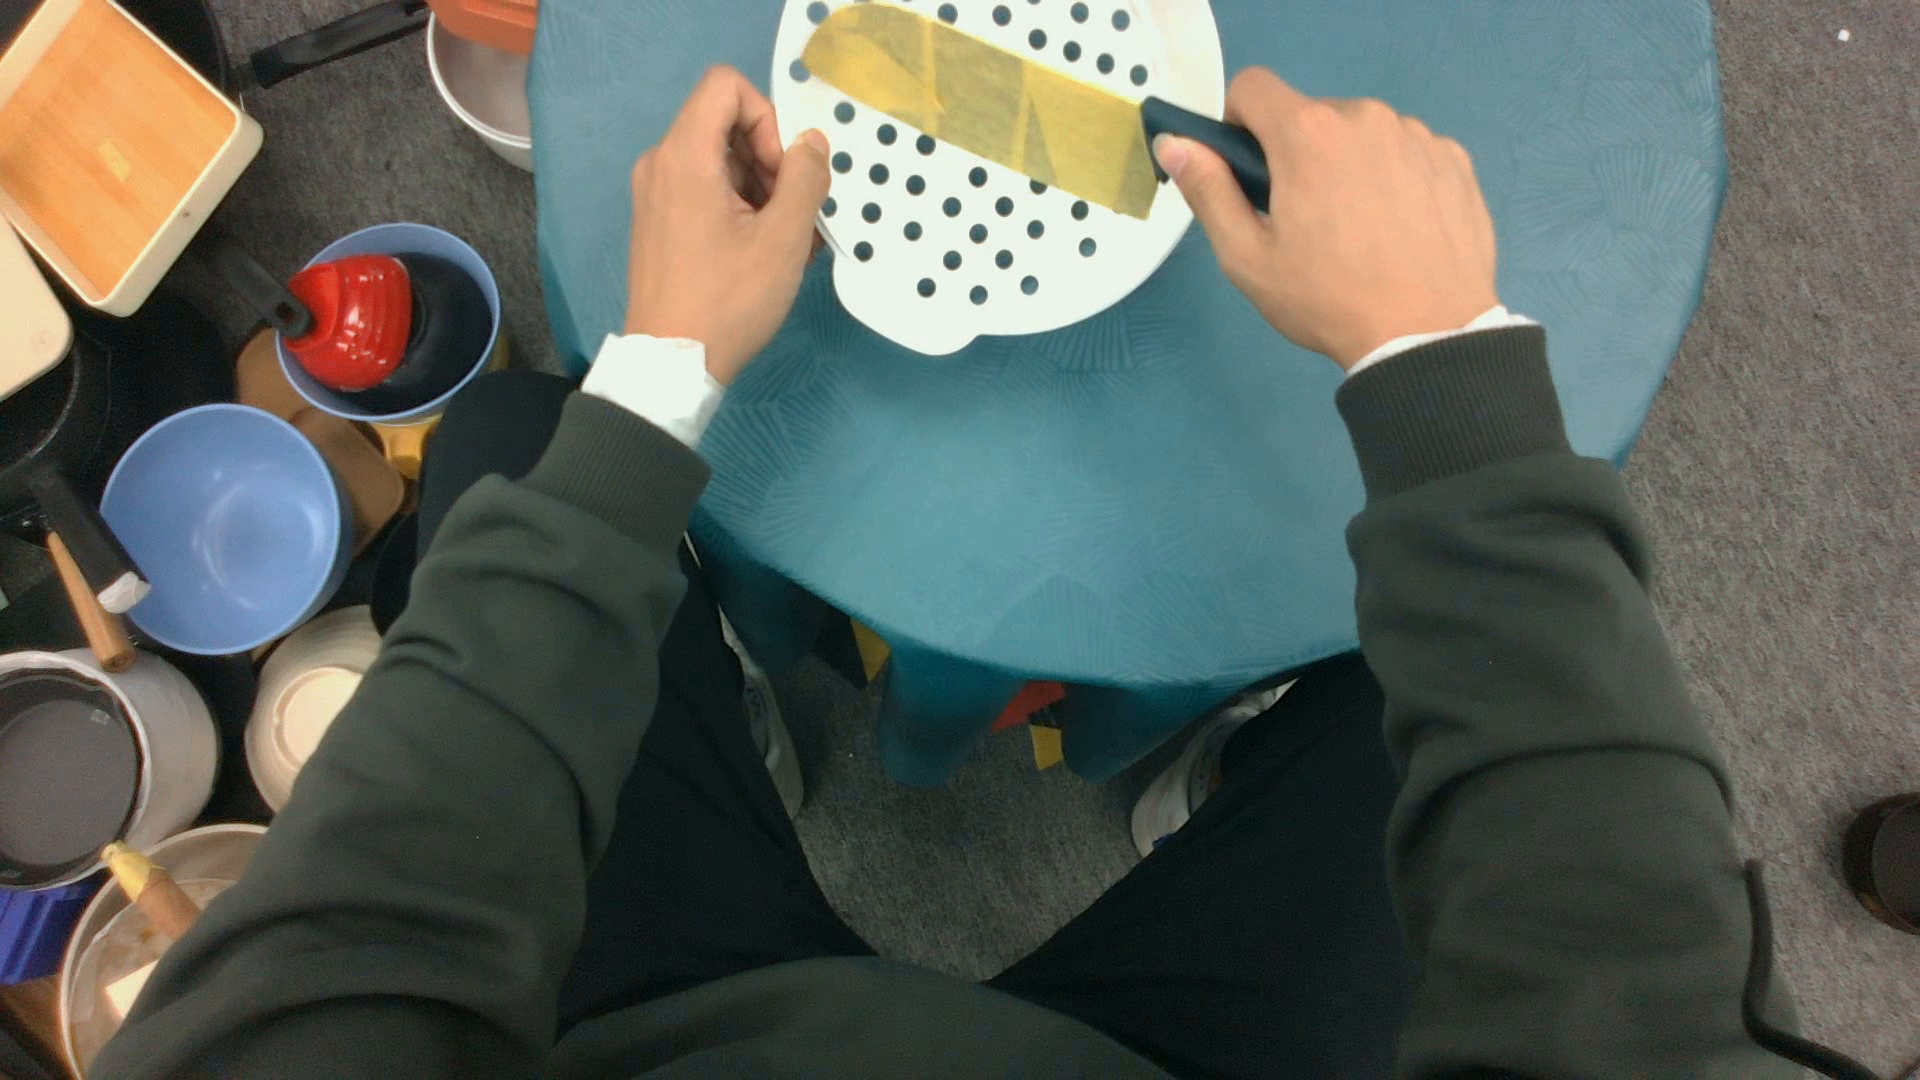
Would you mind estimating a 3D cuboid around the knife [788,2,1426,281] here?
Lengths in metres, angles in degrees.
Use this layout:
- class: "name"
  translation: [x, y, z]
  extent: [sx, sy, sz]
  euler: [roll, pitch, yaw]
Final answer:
- class: "knife"
  translation: [0.053, -0.165, 0.582]
  extent: [0.289, 0.081, 0.027]
  euler: [24, 71, 11]

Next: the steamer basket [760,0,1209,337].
- class: "steamer basket"
  translation: [0.009, -0.204, 0.627]
  extent: [0.202, 0.069, 0.230]
  euler: [27, 94, -18]
